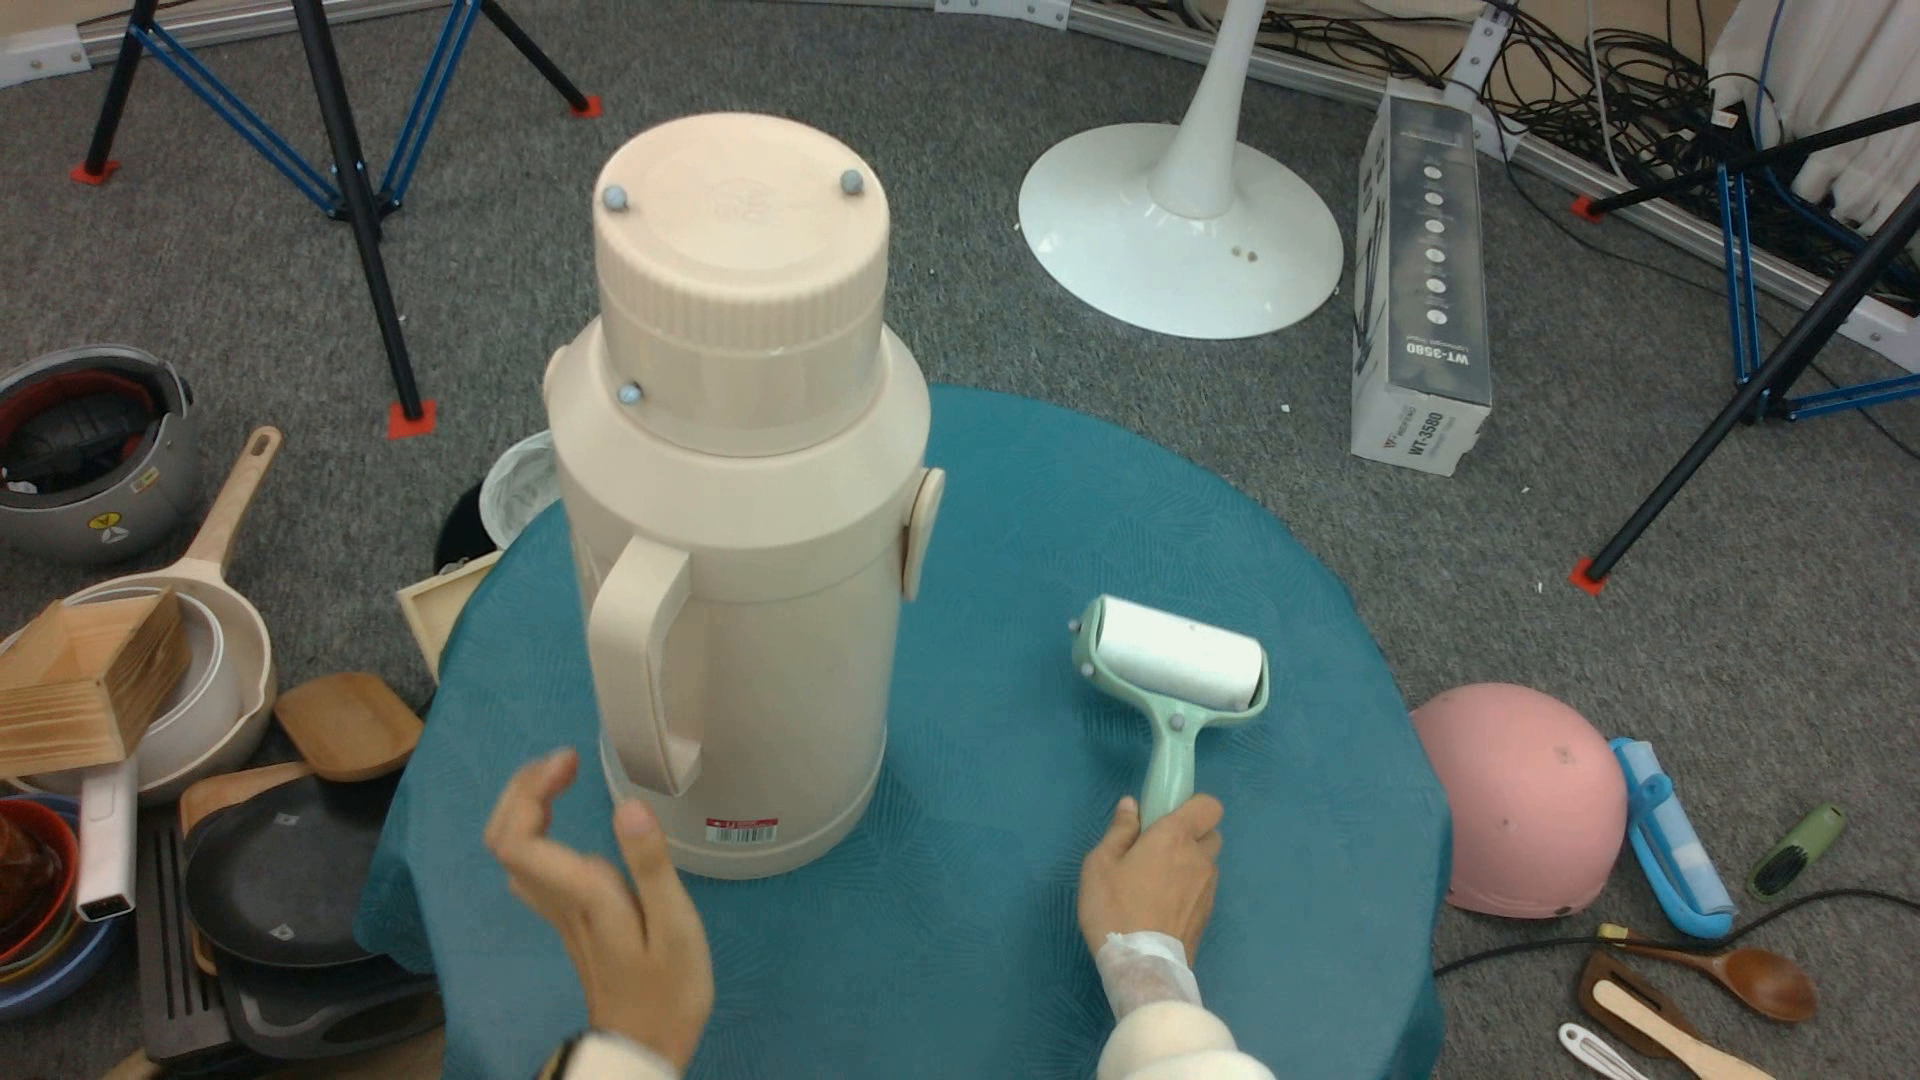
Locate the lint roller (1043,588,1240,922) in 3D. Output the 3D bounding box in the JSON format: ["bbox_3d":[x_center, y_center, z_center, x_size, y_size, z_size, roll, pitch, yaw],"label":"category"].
[{"bbox_3d":[0.100,0.119,0.784,0.116,0.048,0.198,18,47,-8],"label":"lint roller"}]

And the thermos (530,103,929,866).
[{"bbox_3d":[-0.113,0.007,0.639,0.175,0.404,0.208,19,52,5],"label":"thermos"}]
